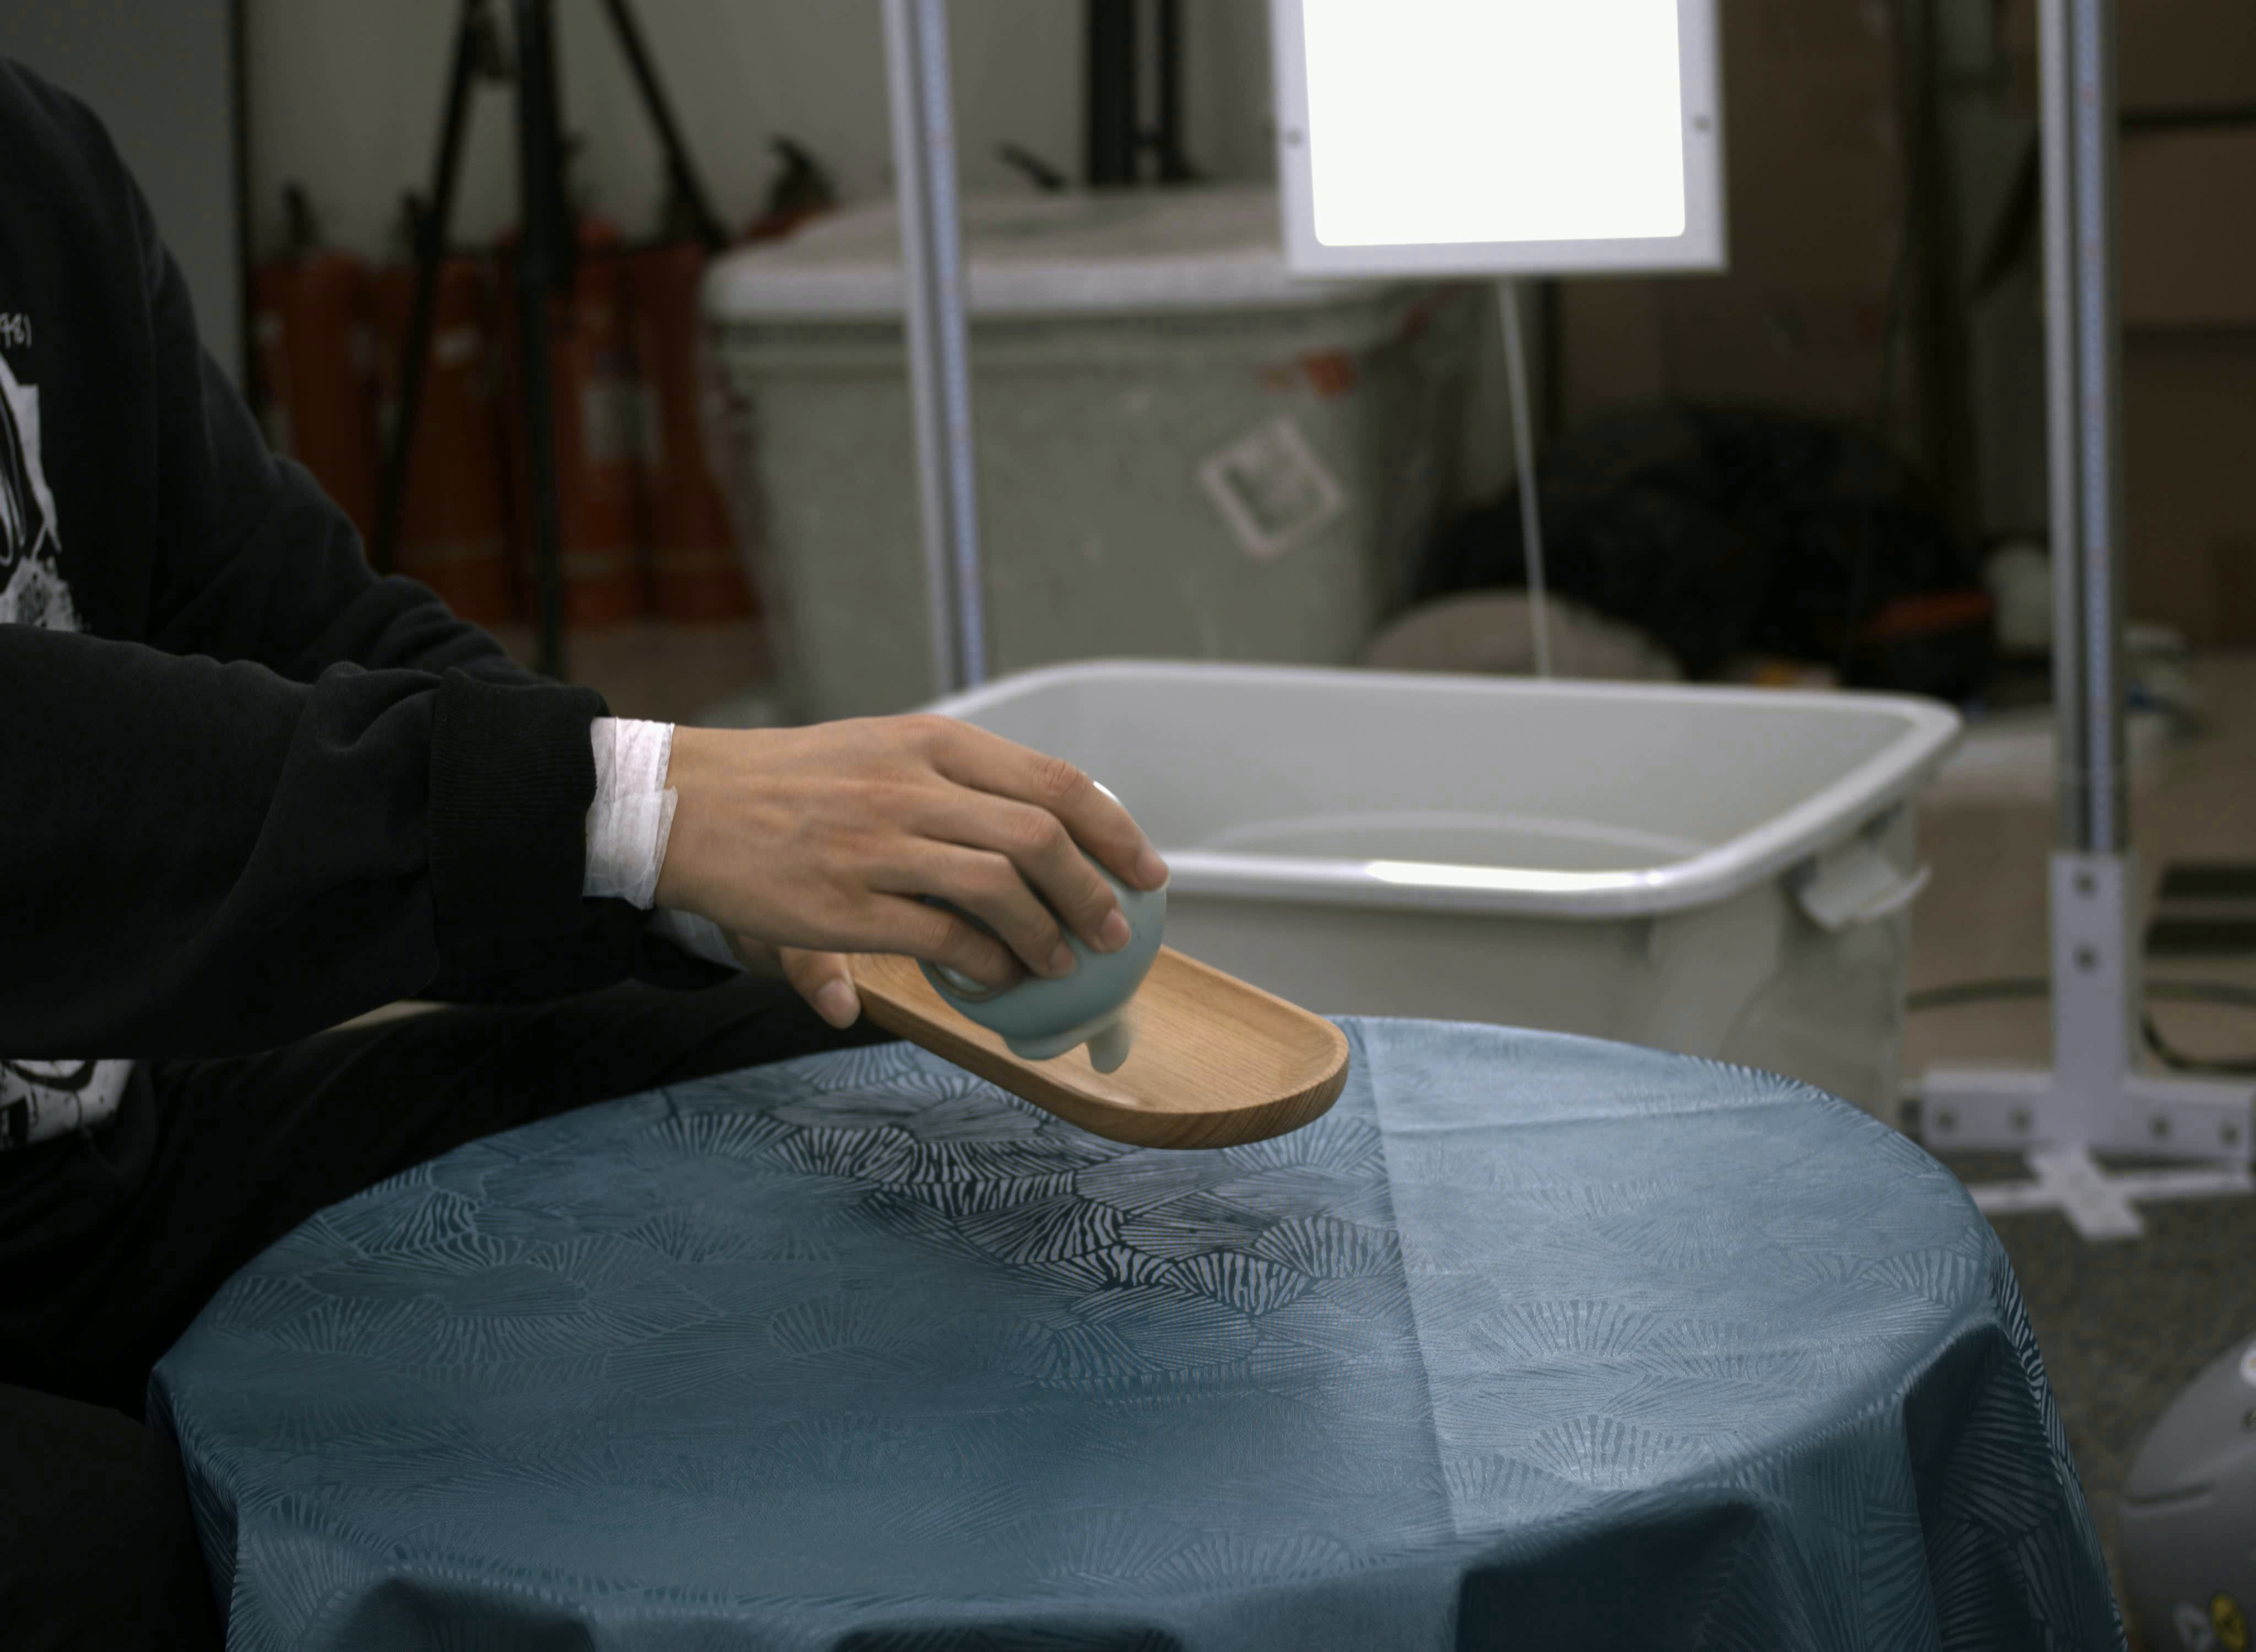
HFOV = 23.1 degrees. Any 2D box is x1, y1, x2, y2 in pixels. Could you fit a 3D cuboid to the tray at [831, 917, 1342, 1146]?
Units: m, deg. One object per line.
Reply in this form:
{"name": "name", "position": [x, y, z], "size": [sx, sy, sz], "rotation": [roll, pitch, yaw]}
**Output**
{"name": "tray", "position": [-0.016, 0.066, 1.878], "size": [0.099, 0.020, 0.235], "rotation": [-14, 20, -31]}

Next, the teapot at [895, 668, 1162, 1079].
{"name": "teapot", "position": [-0.031, 0.024, 1.761], "size": [0.090, 0.144, 0.073], "rotation": [11, 25, 39]}
